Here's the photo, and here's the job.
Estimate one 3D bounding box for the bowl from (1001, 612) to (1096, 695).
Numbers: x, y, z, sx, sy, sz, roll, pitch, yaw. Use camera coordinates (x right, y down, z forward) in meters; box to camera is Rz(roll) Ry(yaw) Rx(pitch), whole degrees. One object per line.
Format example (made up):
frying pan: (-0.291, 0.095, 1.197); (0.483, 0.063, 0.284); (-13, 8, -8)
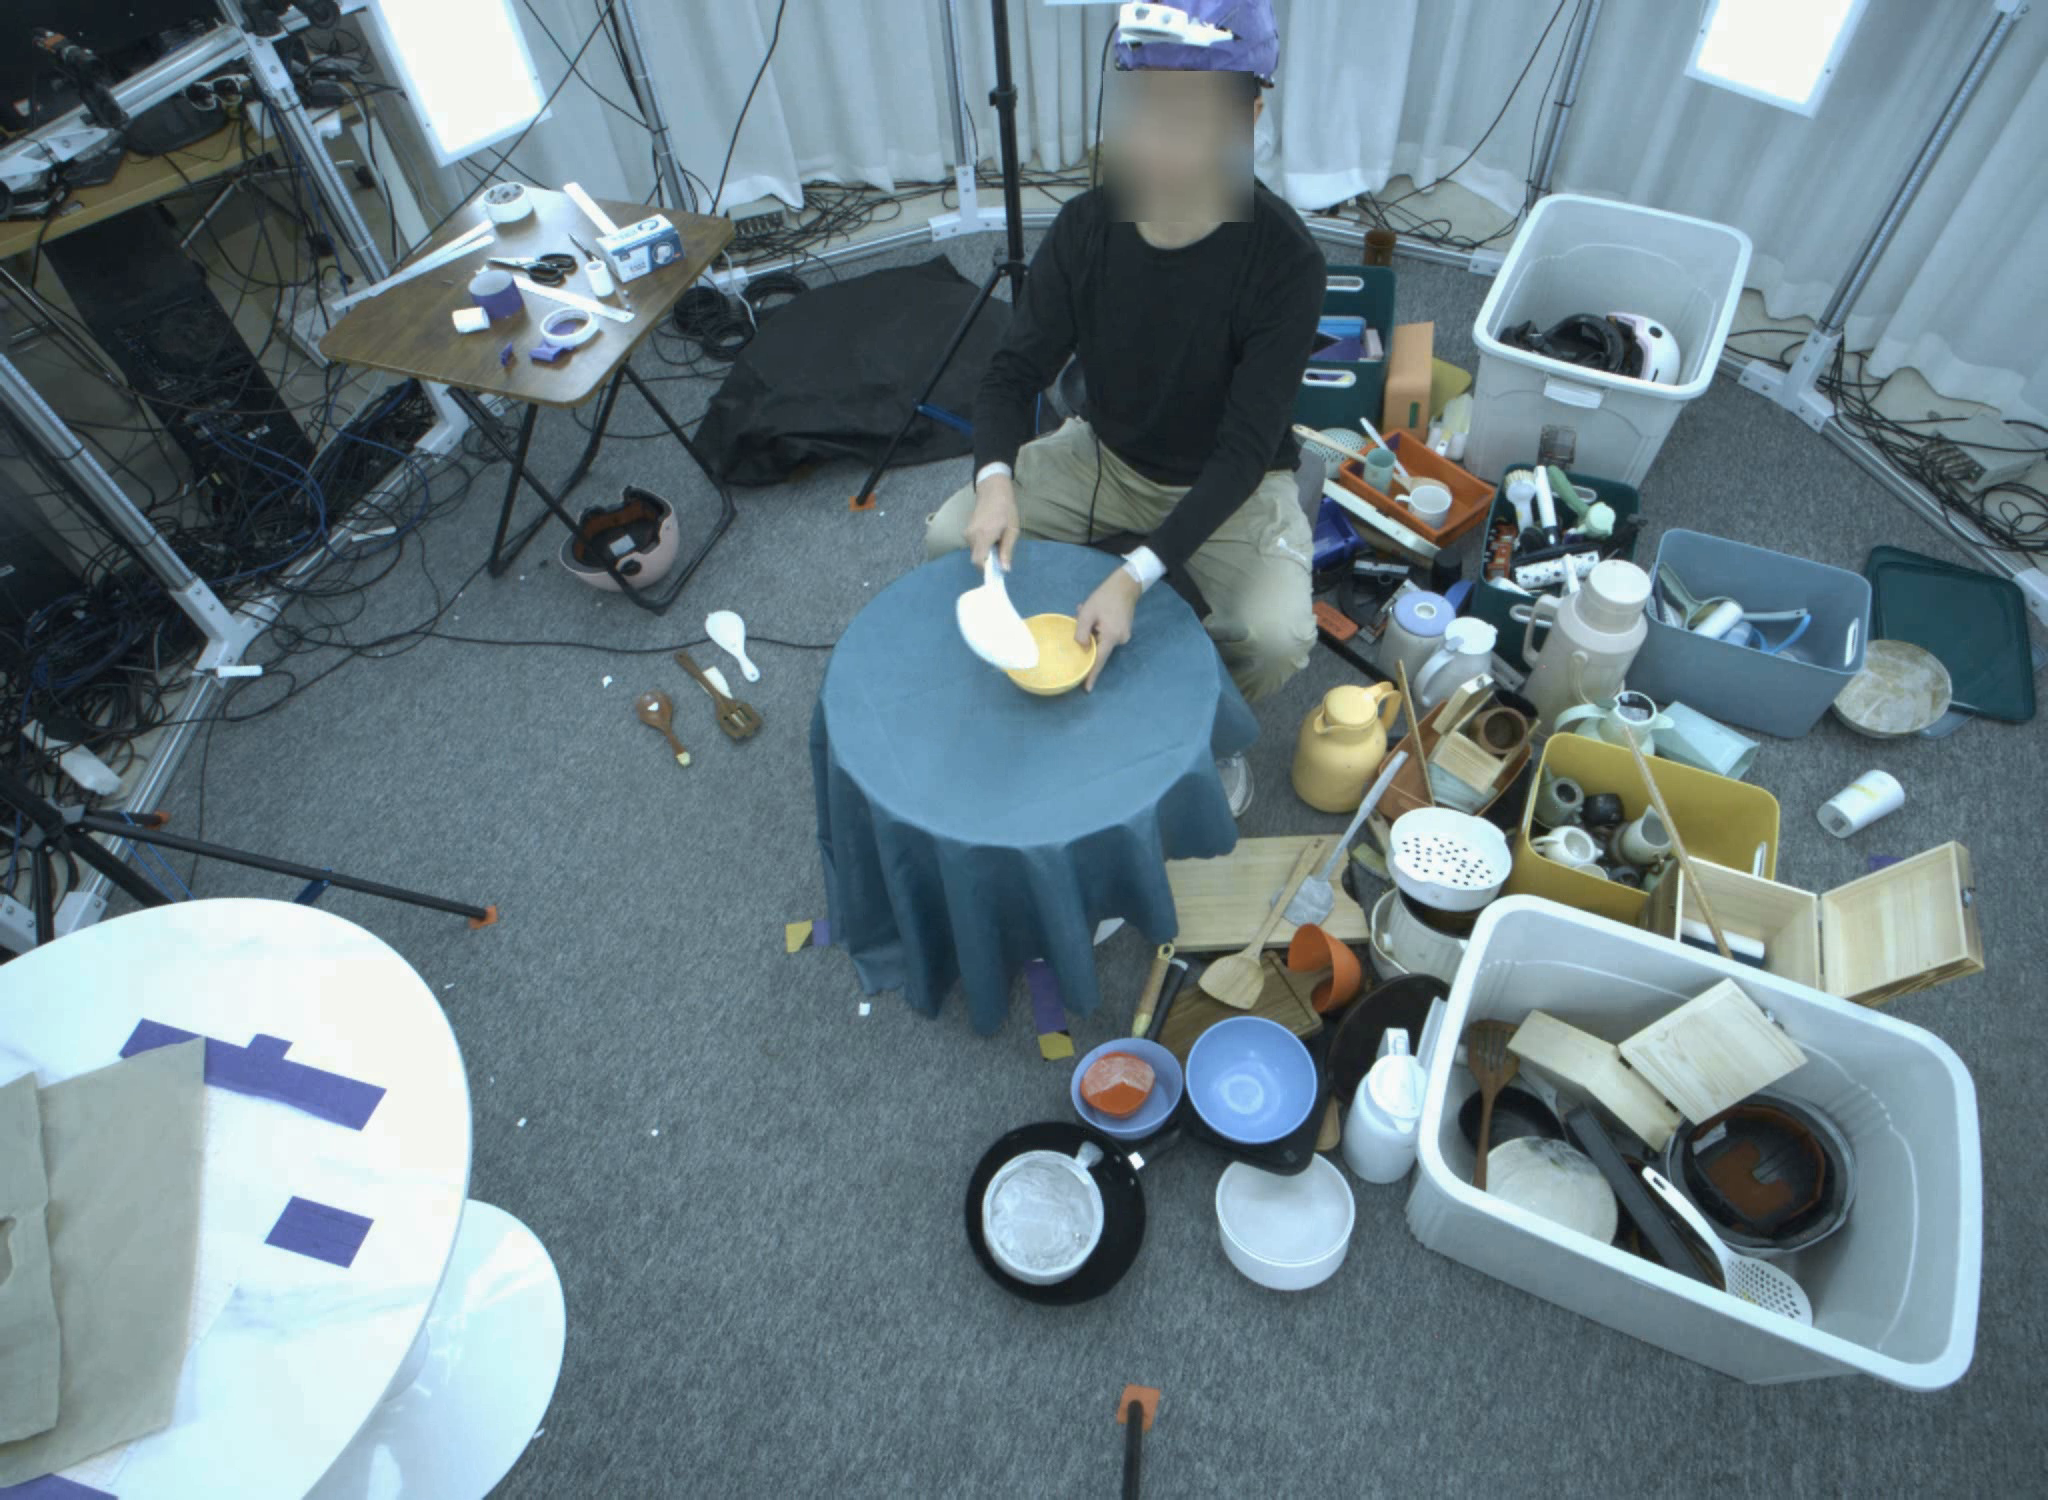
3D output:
bowl: (0.035, -0.134, 1.846); (0.145, 0.061, 0.144); (0, 57, 1)

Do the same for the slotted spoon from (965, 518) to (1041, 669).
slotted spoon: (-0.040, -0.237, 1.790); (0.139, 0.045, 0.345); (31, 39, -30)
